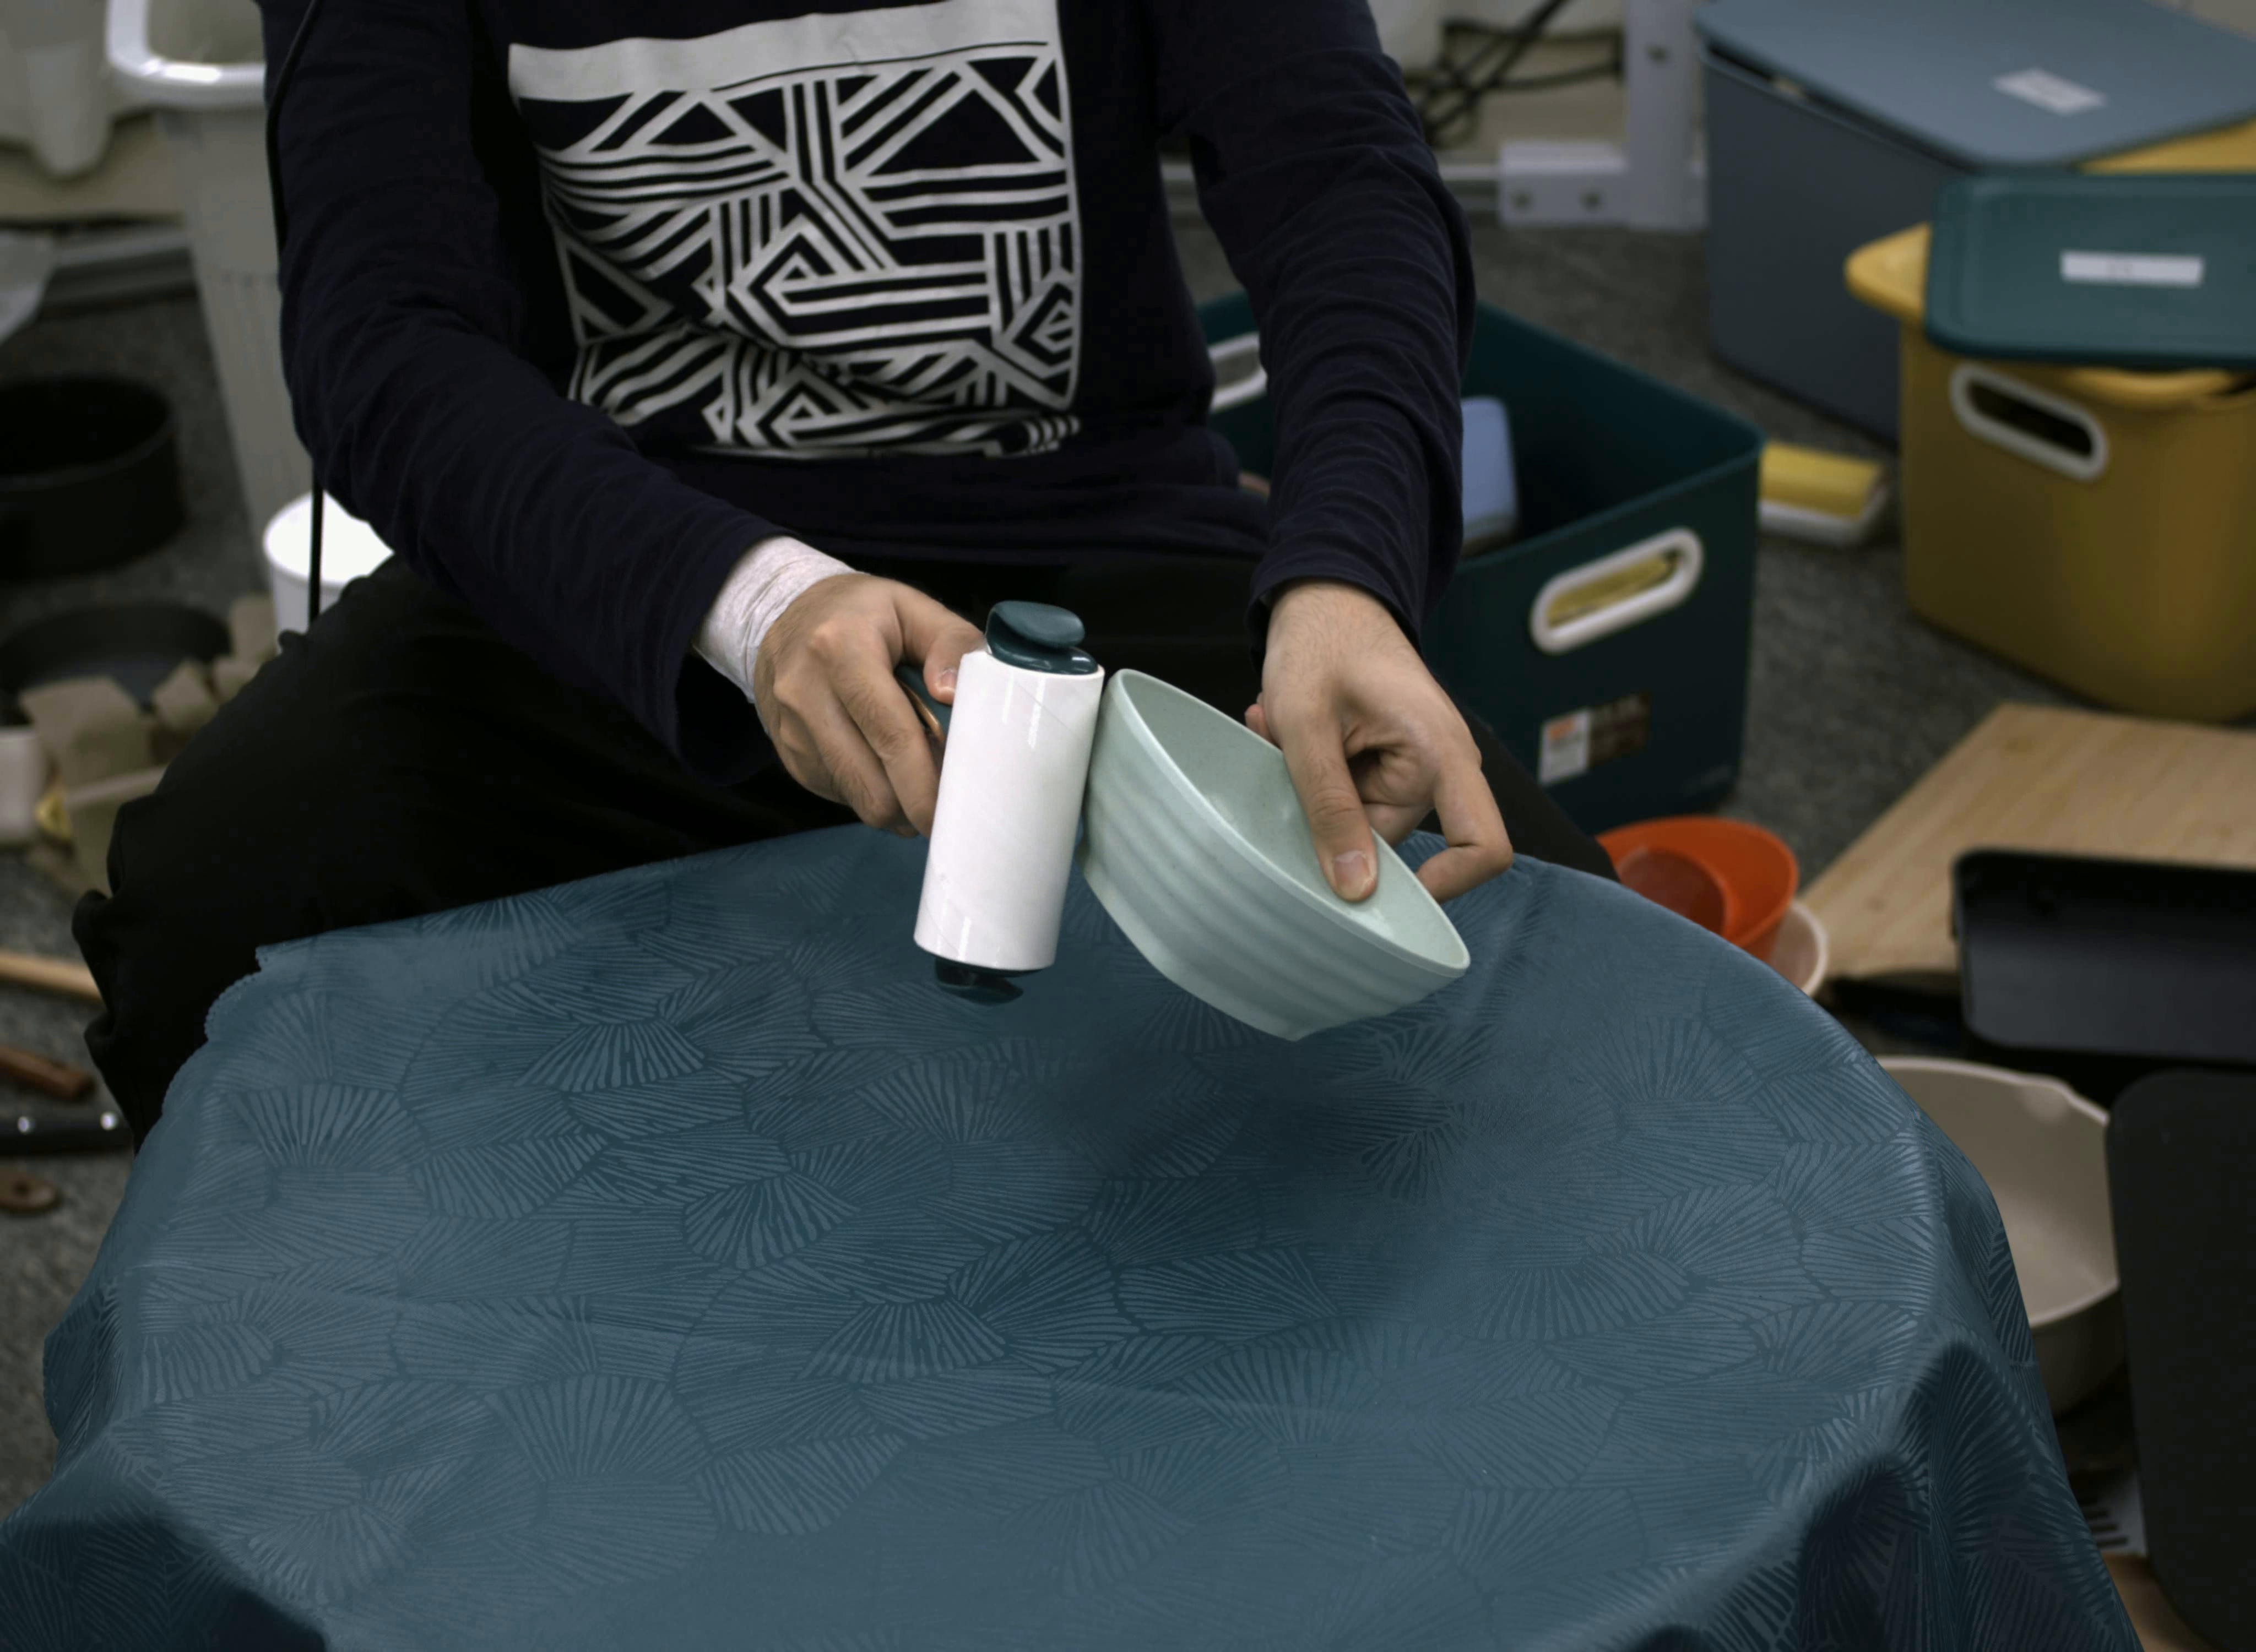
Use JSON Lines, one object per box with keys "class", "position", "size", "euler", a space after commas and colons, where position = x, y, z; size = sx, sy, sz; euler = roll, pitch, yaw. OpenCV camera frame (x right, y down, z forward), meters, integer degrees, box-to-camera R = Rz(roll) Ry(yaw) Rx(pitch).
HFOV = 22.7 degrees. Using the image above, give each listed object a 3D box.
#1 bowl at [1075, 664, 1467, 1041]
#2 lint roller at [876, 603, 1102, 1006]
{"class": "bowl", "position": [0.036, 0.018, 1.845], "size": [0.151, 0.058, 0.153], "euler": [37, 16, -12]}
{"class": "lint roller", "position": [-0.067, -0.023, 1.888], "size": [0.048, 0.134, 0.180], "euler": [6, 11, -27]}
